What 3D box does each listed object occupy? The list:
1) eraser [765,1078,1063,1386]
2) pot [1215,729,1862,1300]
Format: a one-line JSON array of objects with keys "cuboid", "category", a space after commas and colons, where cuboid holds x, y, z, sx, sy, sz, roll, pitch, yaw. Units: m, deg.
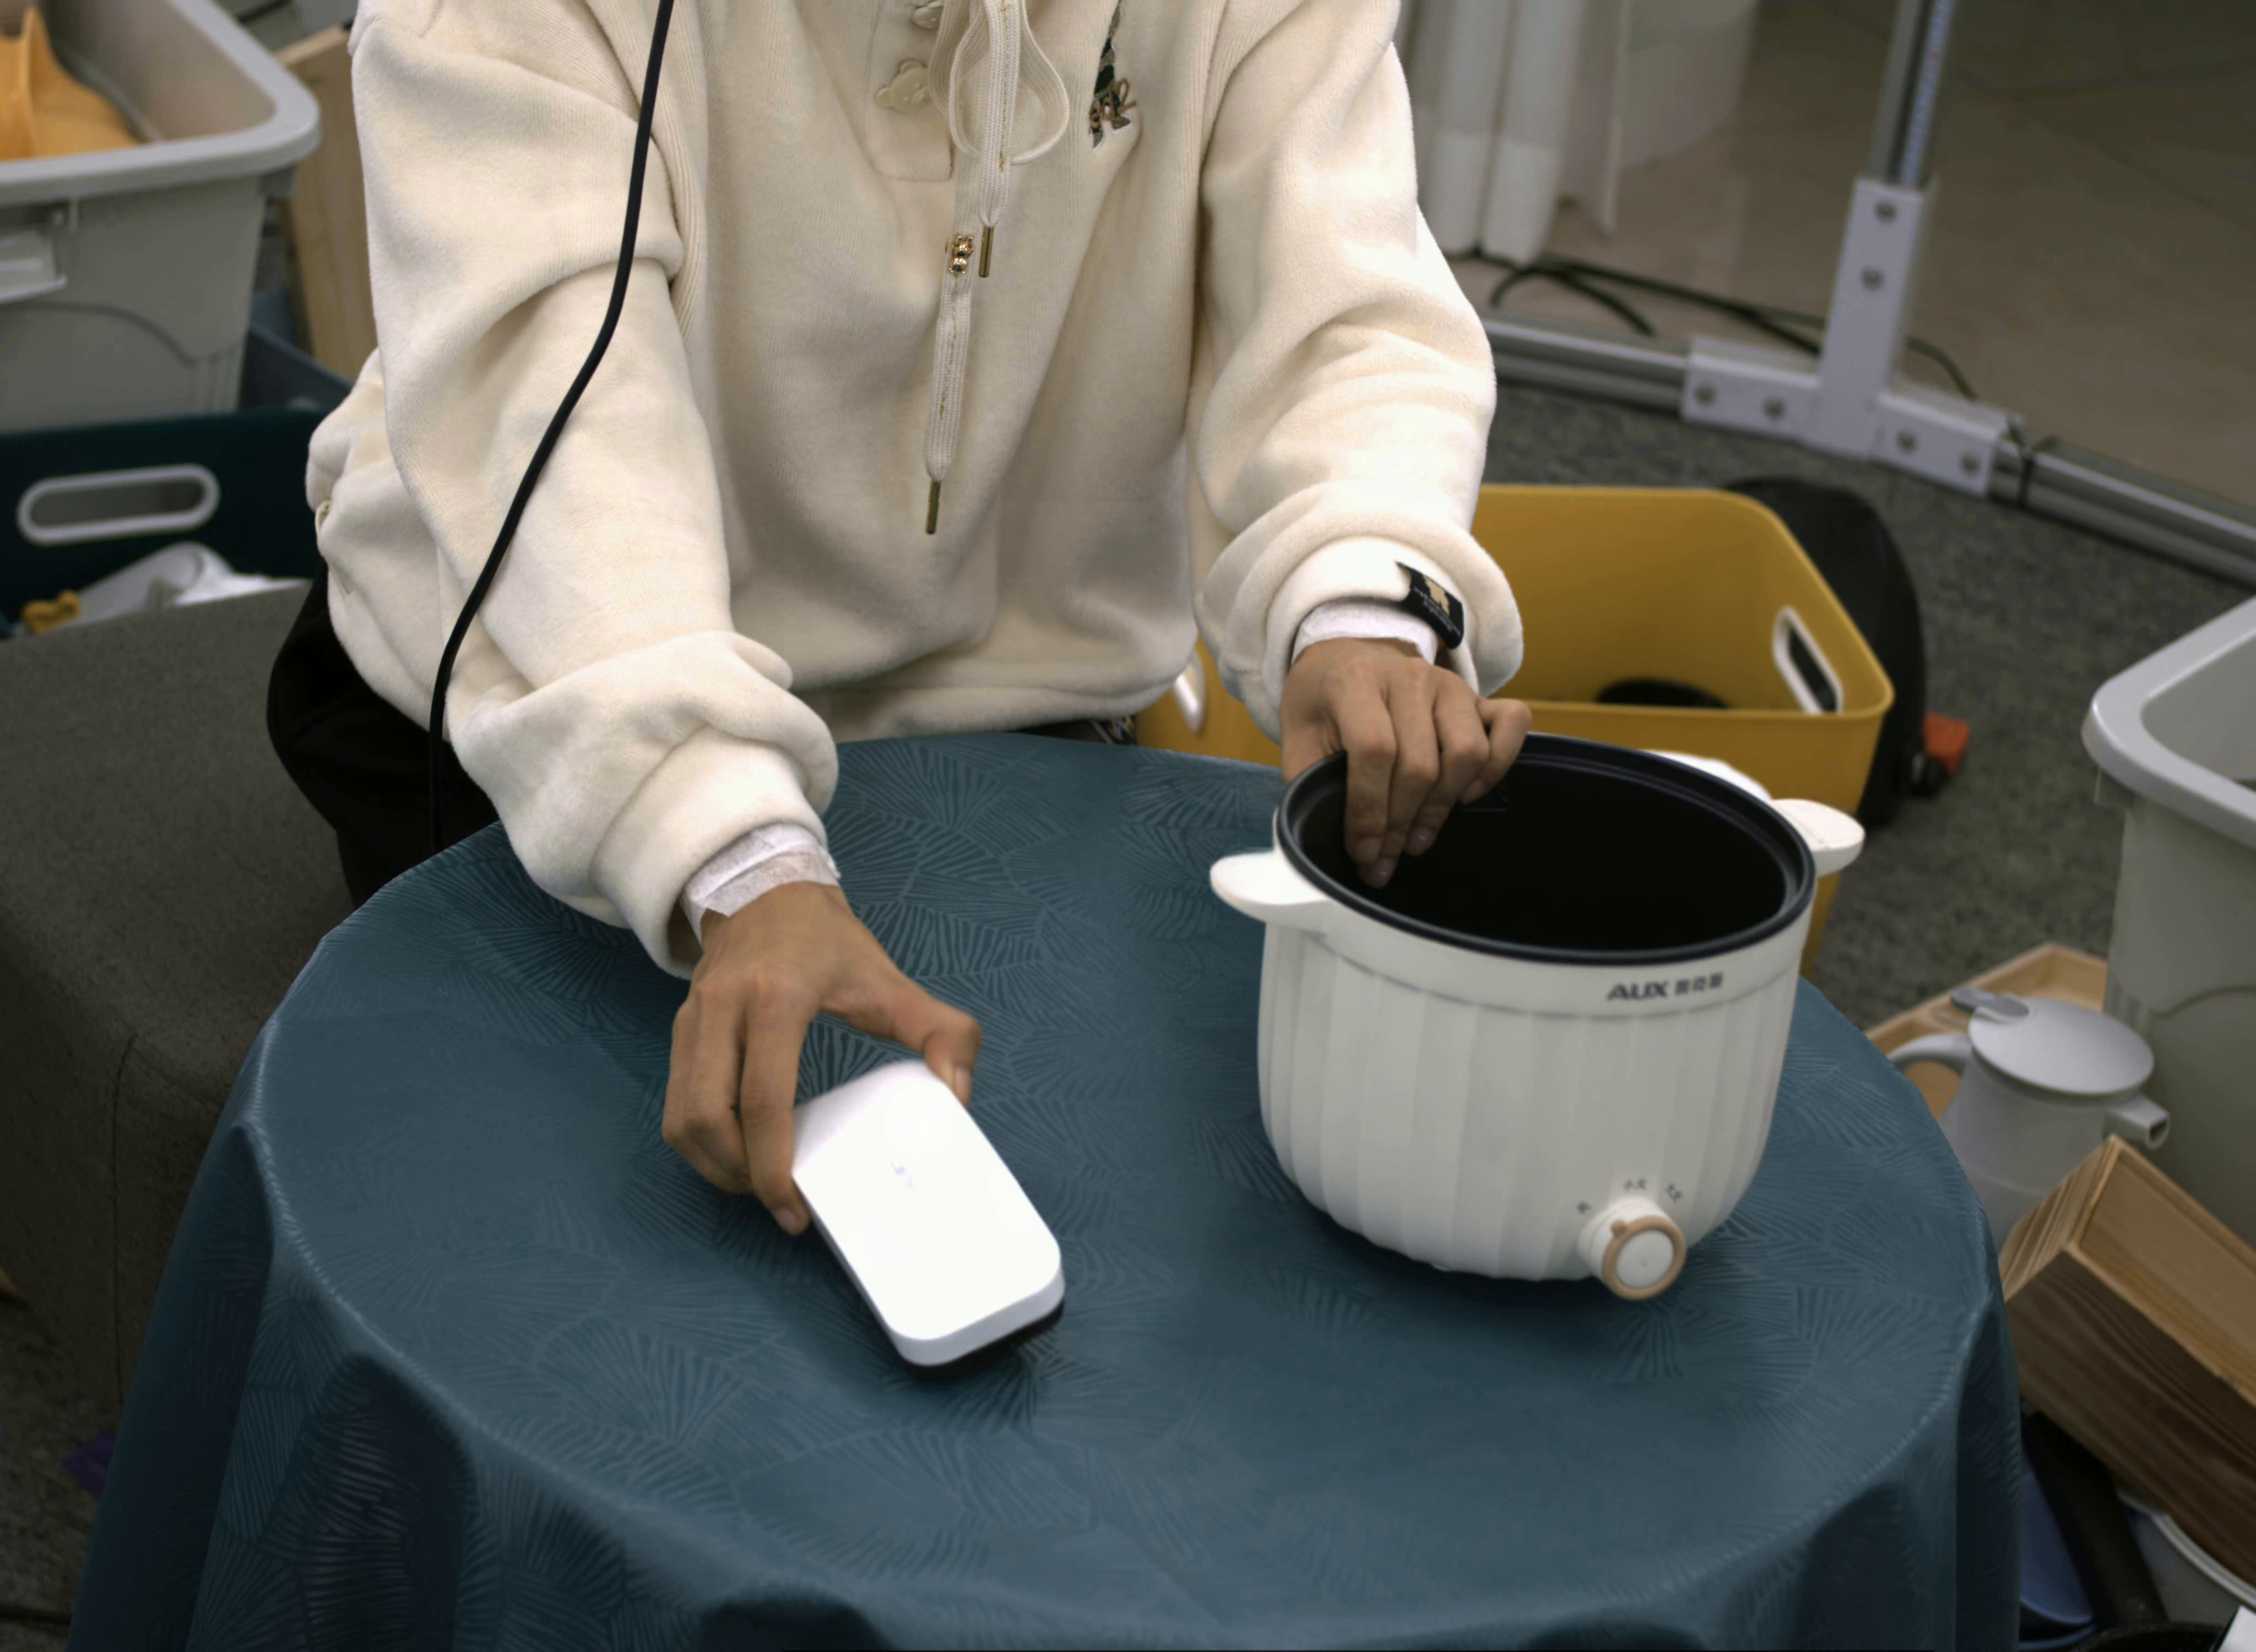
[{"cuboid": [-0.068, 0.128, 1.725, 0.063, 0.034, 0.132, -20, 37, -15], "category": "eraser"}, {"cuboid": [0.137, 0.066, 1.787, 0.239, 0.142, 0.192, -7, 24, -23], "category": "pot"}]
